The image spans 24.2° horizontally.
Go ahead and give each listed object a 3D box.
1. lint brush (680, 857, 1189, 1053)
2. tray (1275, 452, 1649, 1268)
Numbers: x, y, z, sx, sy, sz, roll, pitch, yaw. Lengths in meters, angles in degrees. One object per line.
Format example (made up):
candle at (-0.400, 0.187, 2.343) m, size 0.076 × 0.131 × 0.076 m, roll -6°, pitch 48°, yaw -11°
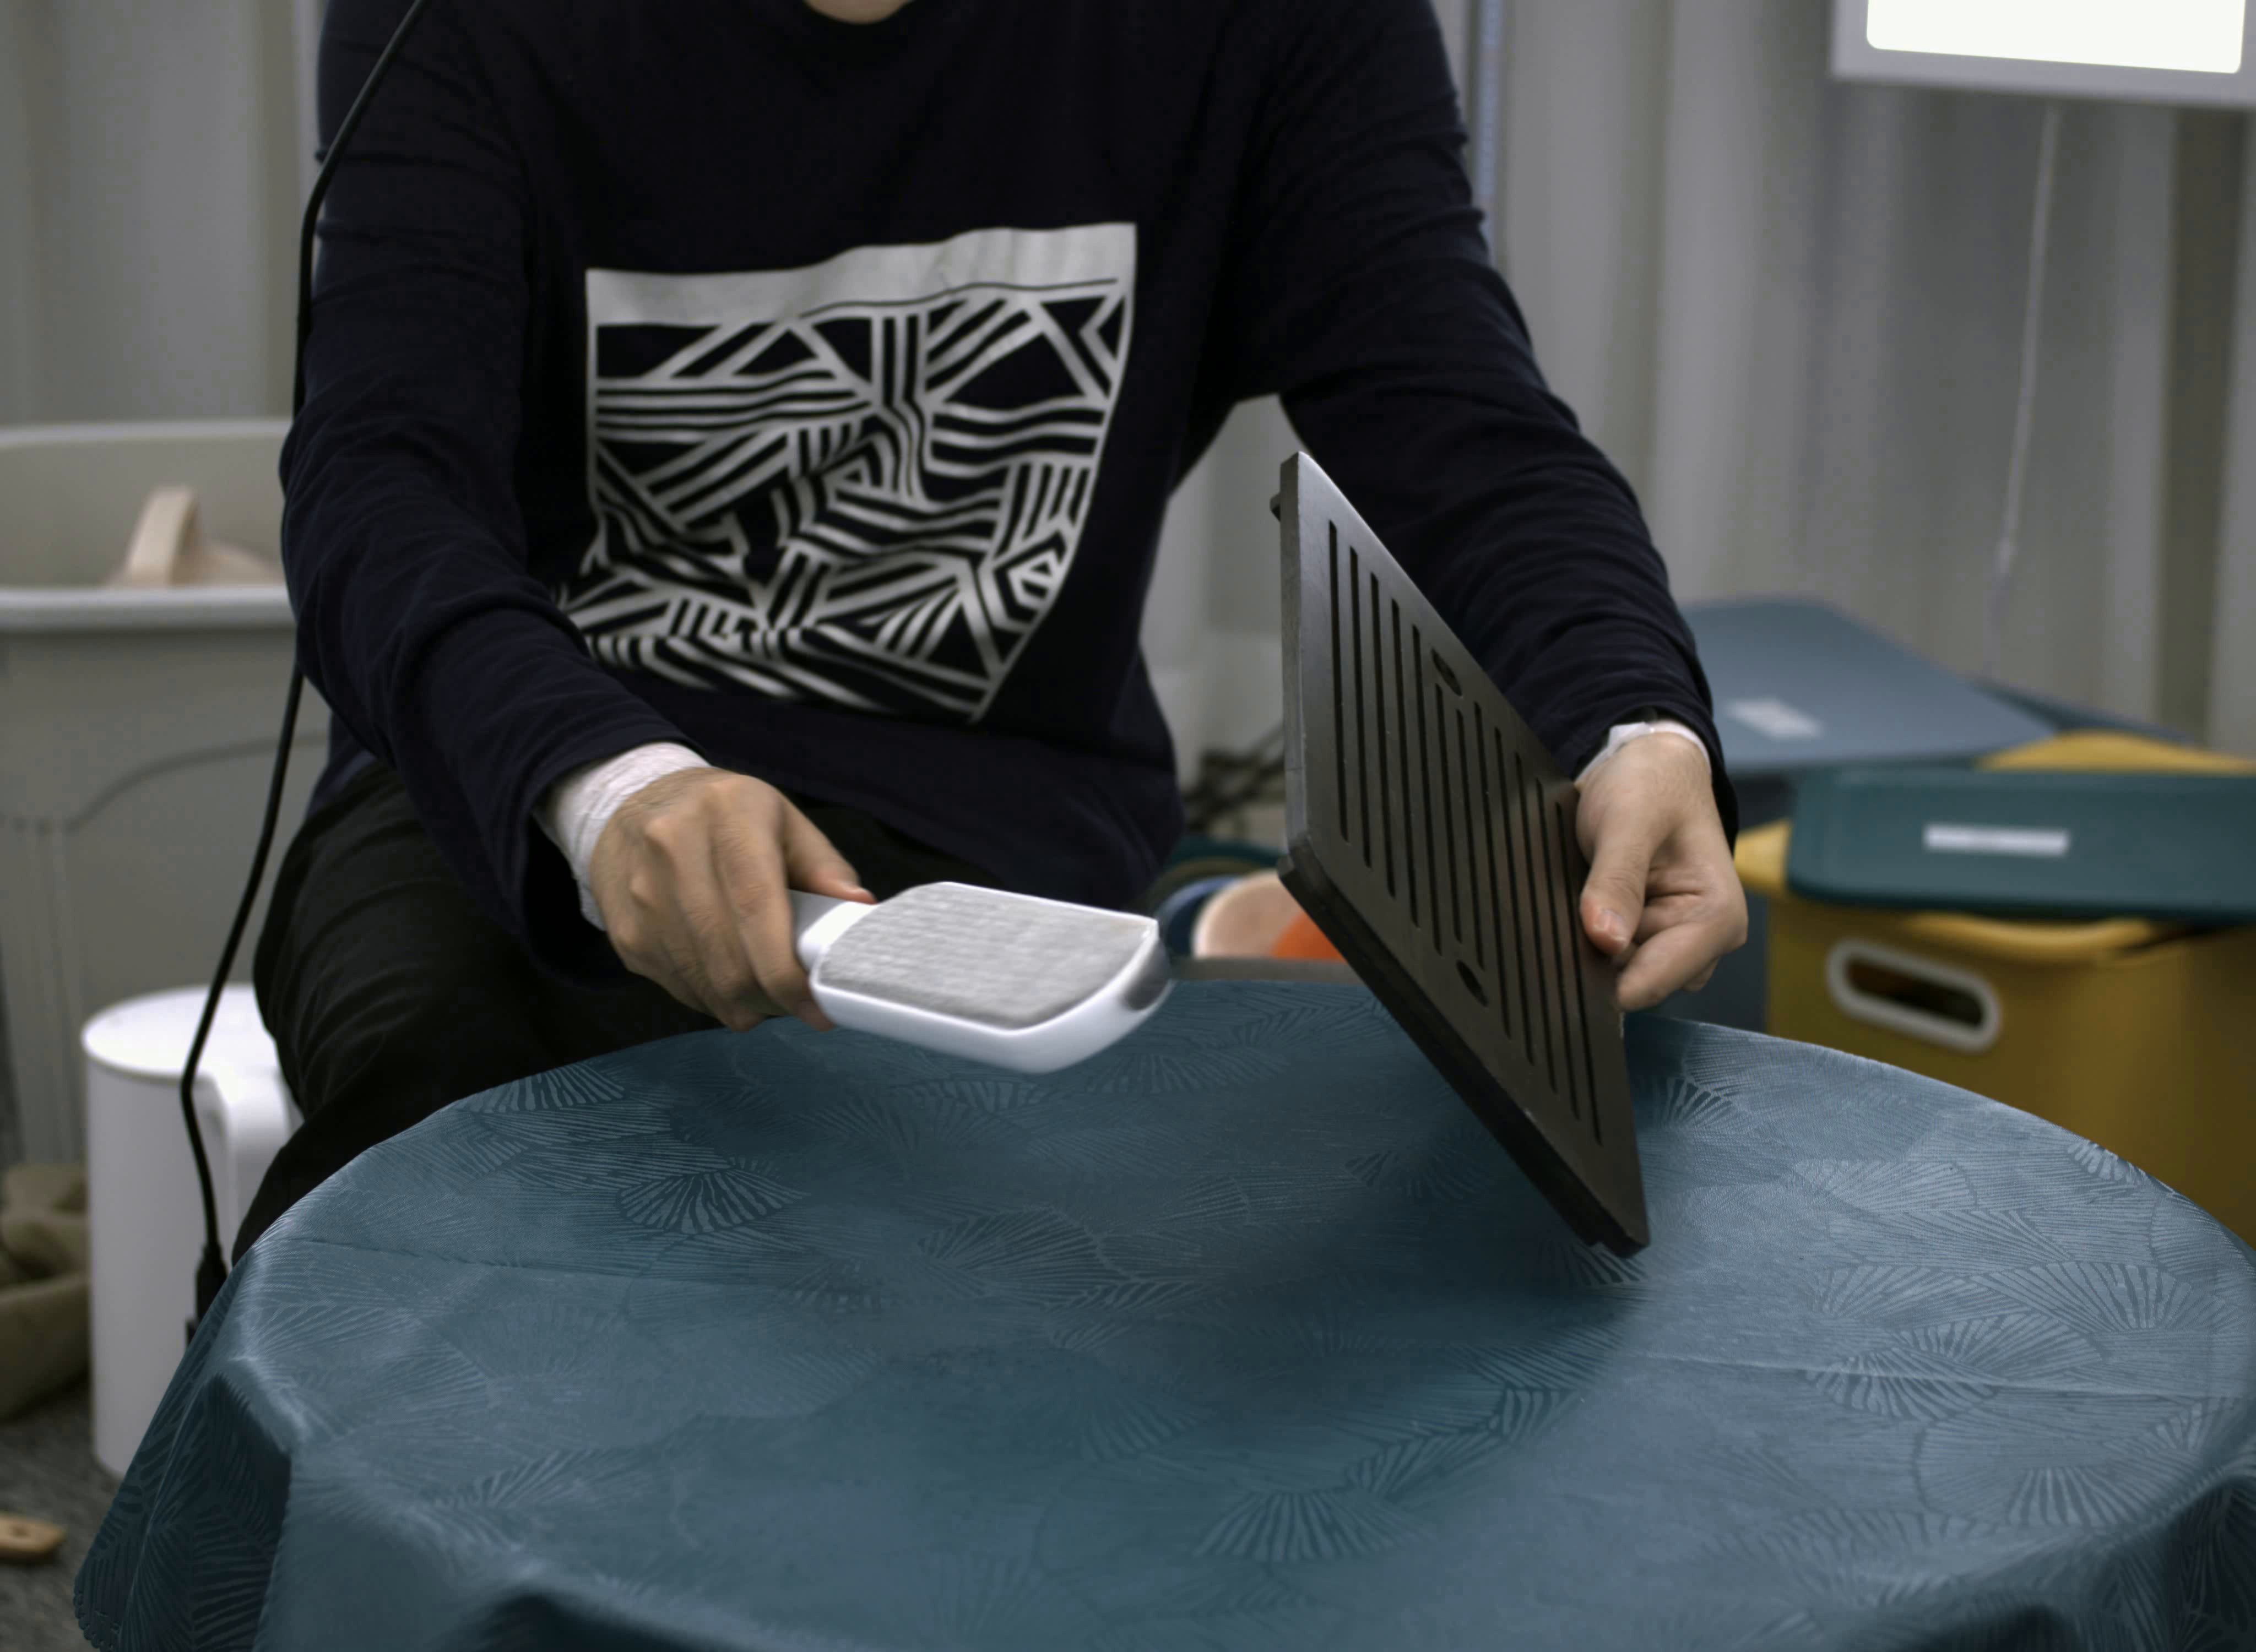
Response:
lint brush at (-0.066, 0.033, 1.577) m, size 0.060 × 0.021 × 0.306 m, roll -43°, pitch 21°, yaw -19°
tray at (0.099, 0.005, 1.640) m, size 0.018 × 0.172 × 0.303 m, roll -33°, pitch 22°, yaw 16°
